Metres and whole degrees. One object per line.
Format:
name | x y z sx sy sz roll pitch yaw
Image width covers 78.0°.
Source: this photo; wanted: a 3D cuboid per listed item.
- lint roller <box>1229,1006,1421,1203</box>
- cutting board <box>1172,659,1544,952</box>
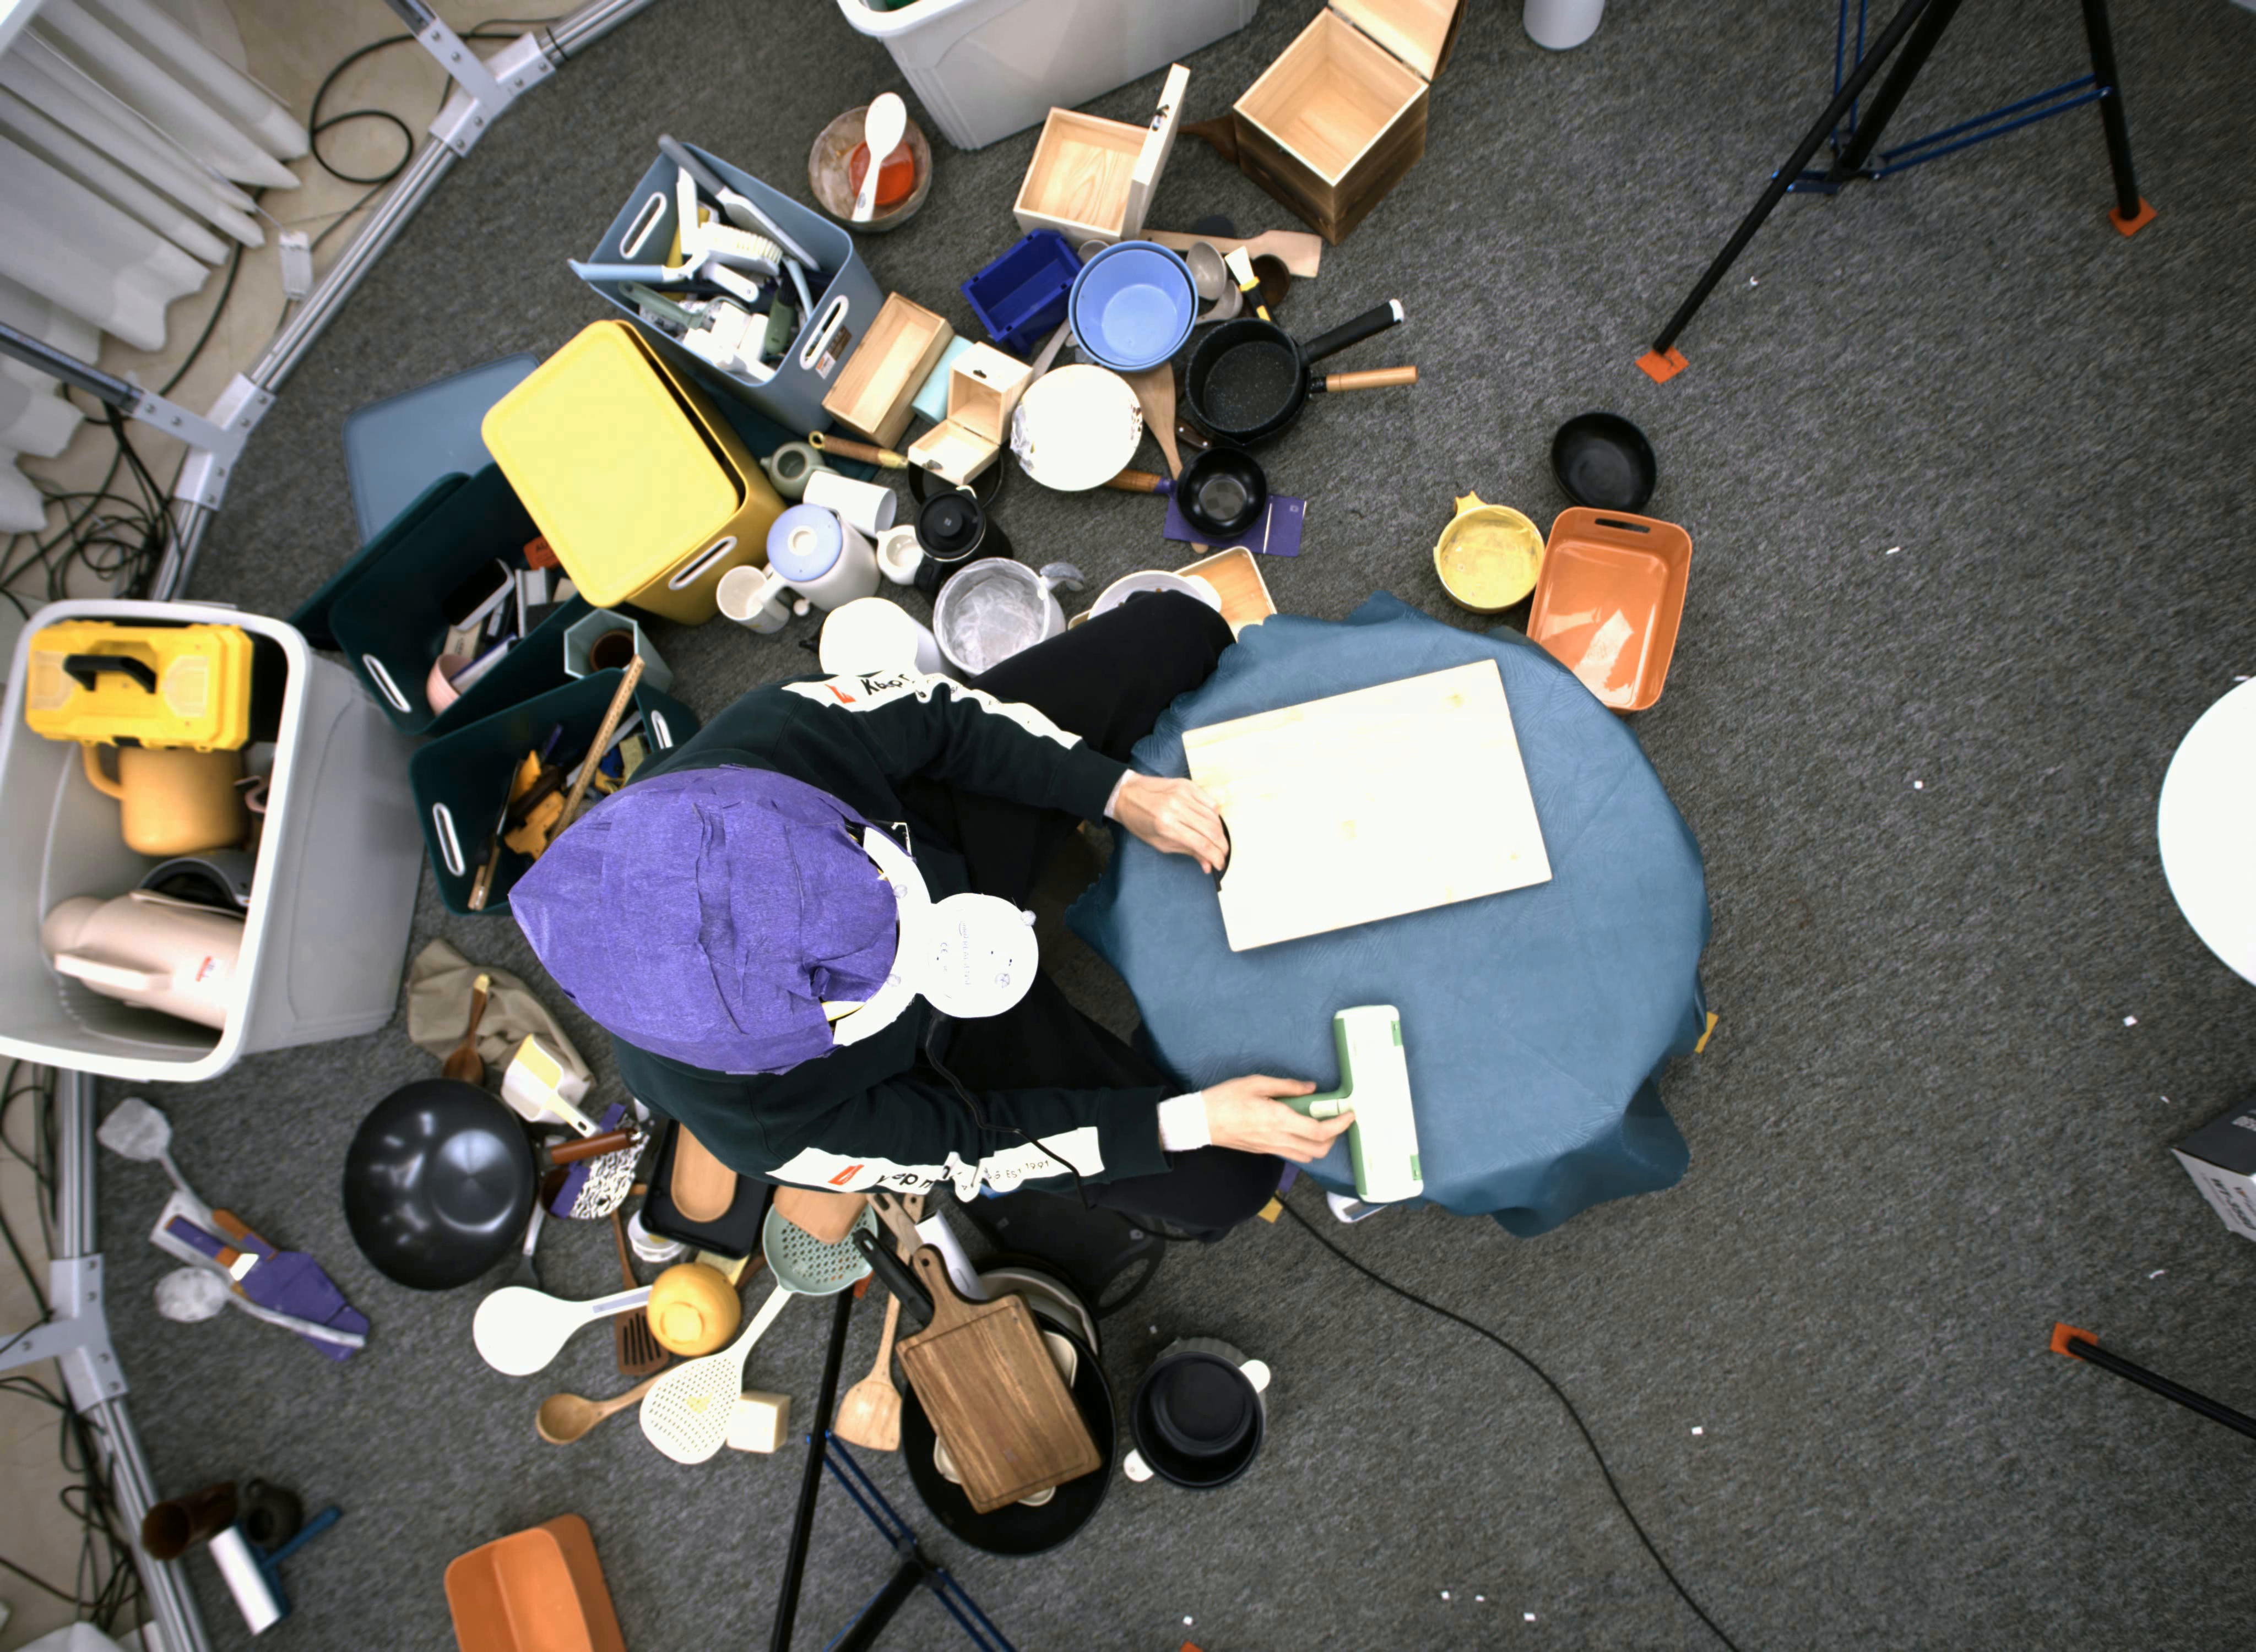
lint roller | 0.196 0.288 1.413 0.183 0.082 0.197 -7 85 1
cutting board | 0.241 -0.023 1.445 0.350 0.023 0.249 -14 84 5
